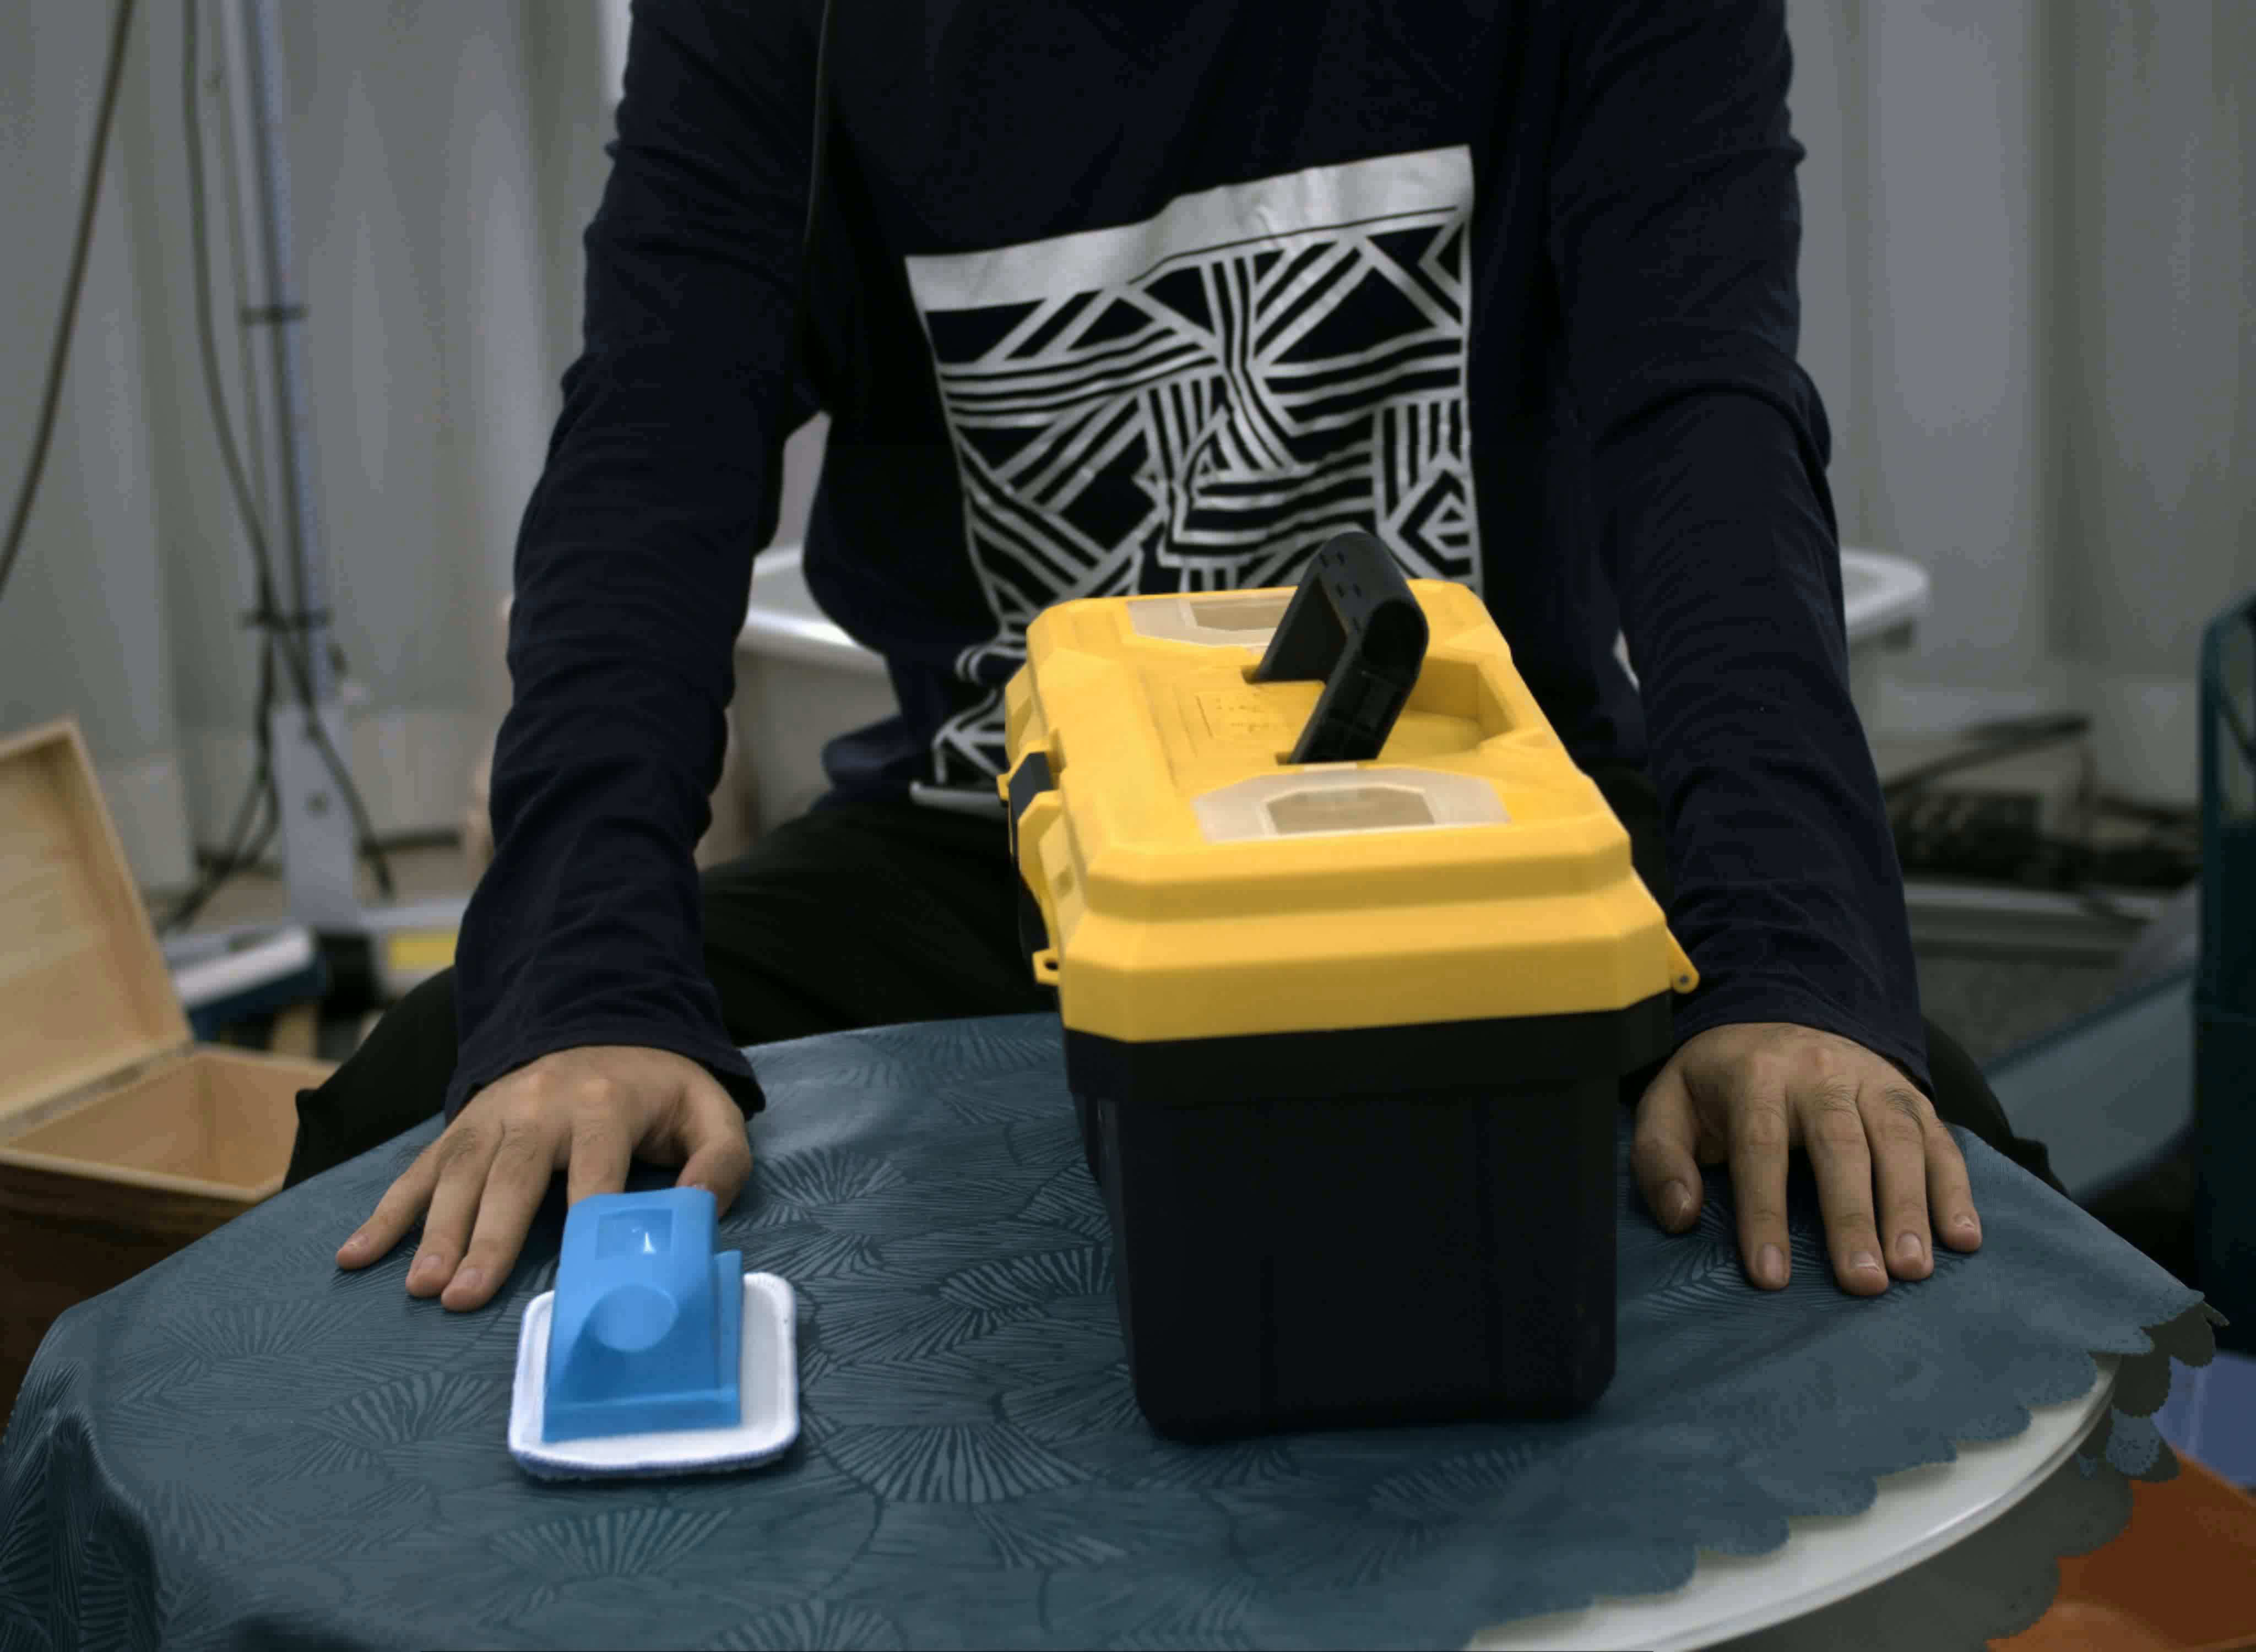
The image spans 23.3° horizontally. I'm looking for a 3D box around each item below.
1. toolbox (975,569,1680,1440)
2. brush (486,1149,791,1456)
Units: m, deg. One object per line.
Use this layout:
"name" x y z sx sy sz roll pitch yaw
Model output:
"toolbox" 0.053 0.044 1.632 0.180 0.172 0.354 -4 15 -3
"brush" -0.138 0.132 1.556 0.083 0.055 0.145 0 17 -2
